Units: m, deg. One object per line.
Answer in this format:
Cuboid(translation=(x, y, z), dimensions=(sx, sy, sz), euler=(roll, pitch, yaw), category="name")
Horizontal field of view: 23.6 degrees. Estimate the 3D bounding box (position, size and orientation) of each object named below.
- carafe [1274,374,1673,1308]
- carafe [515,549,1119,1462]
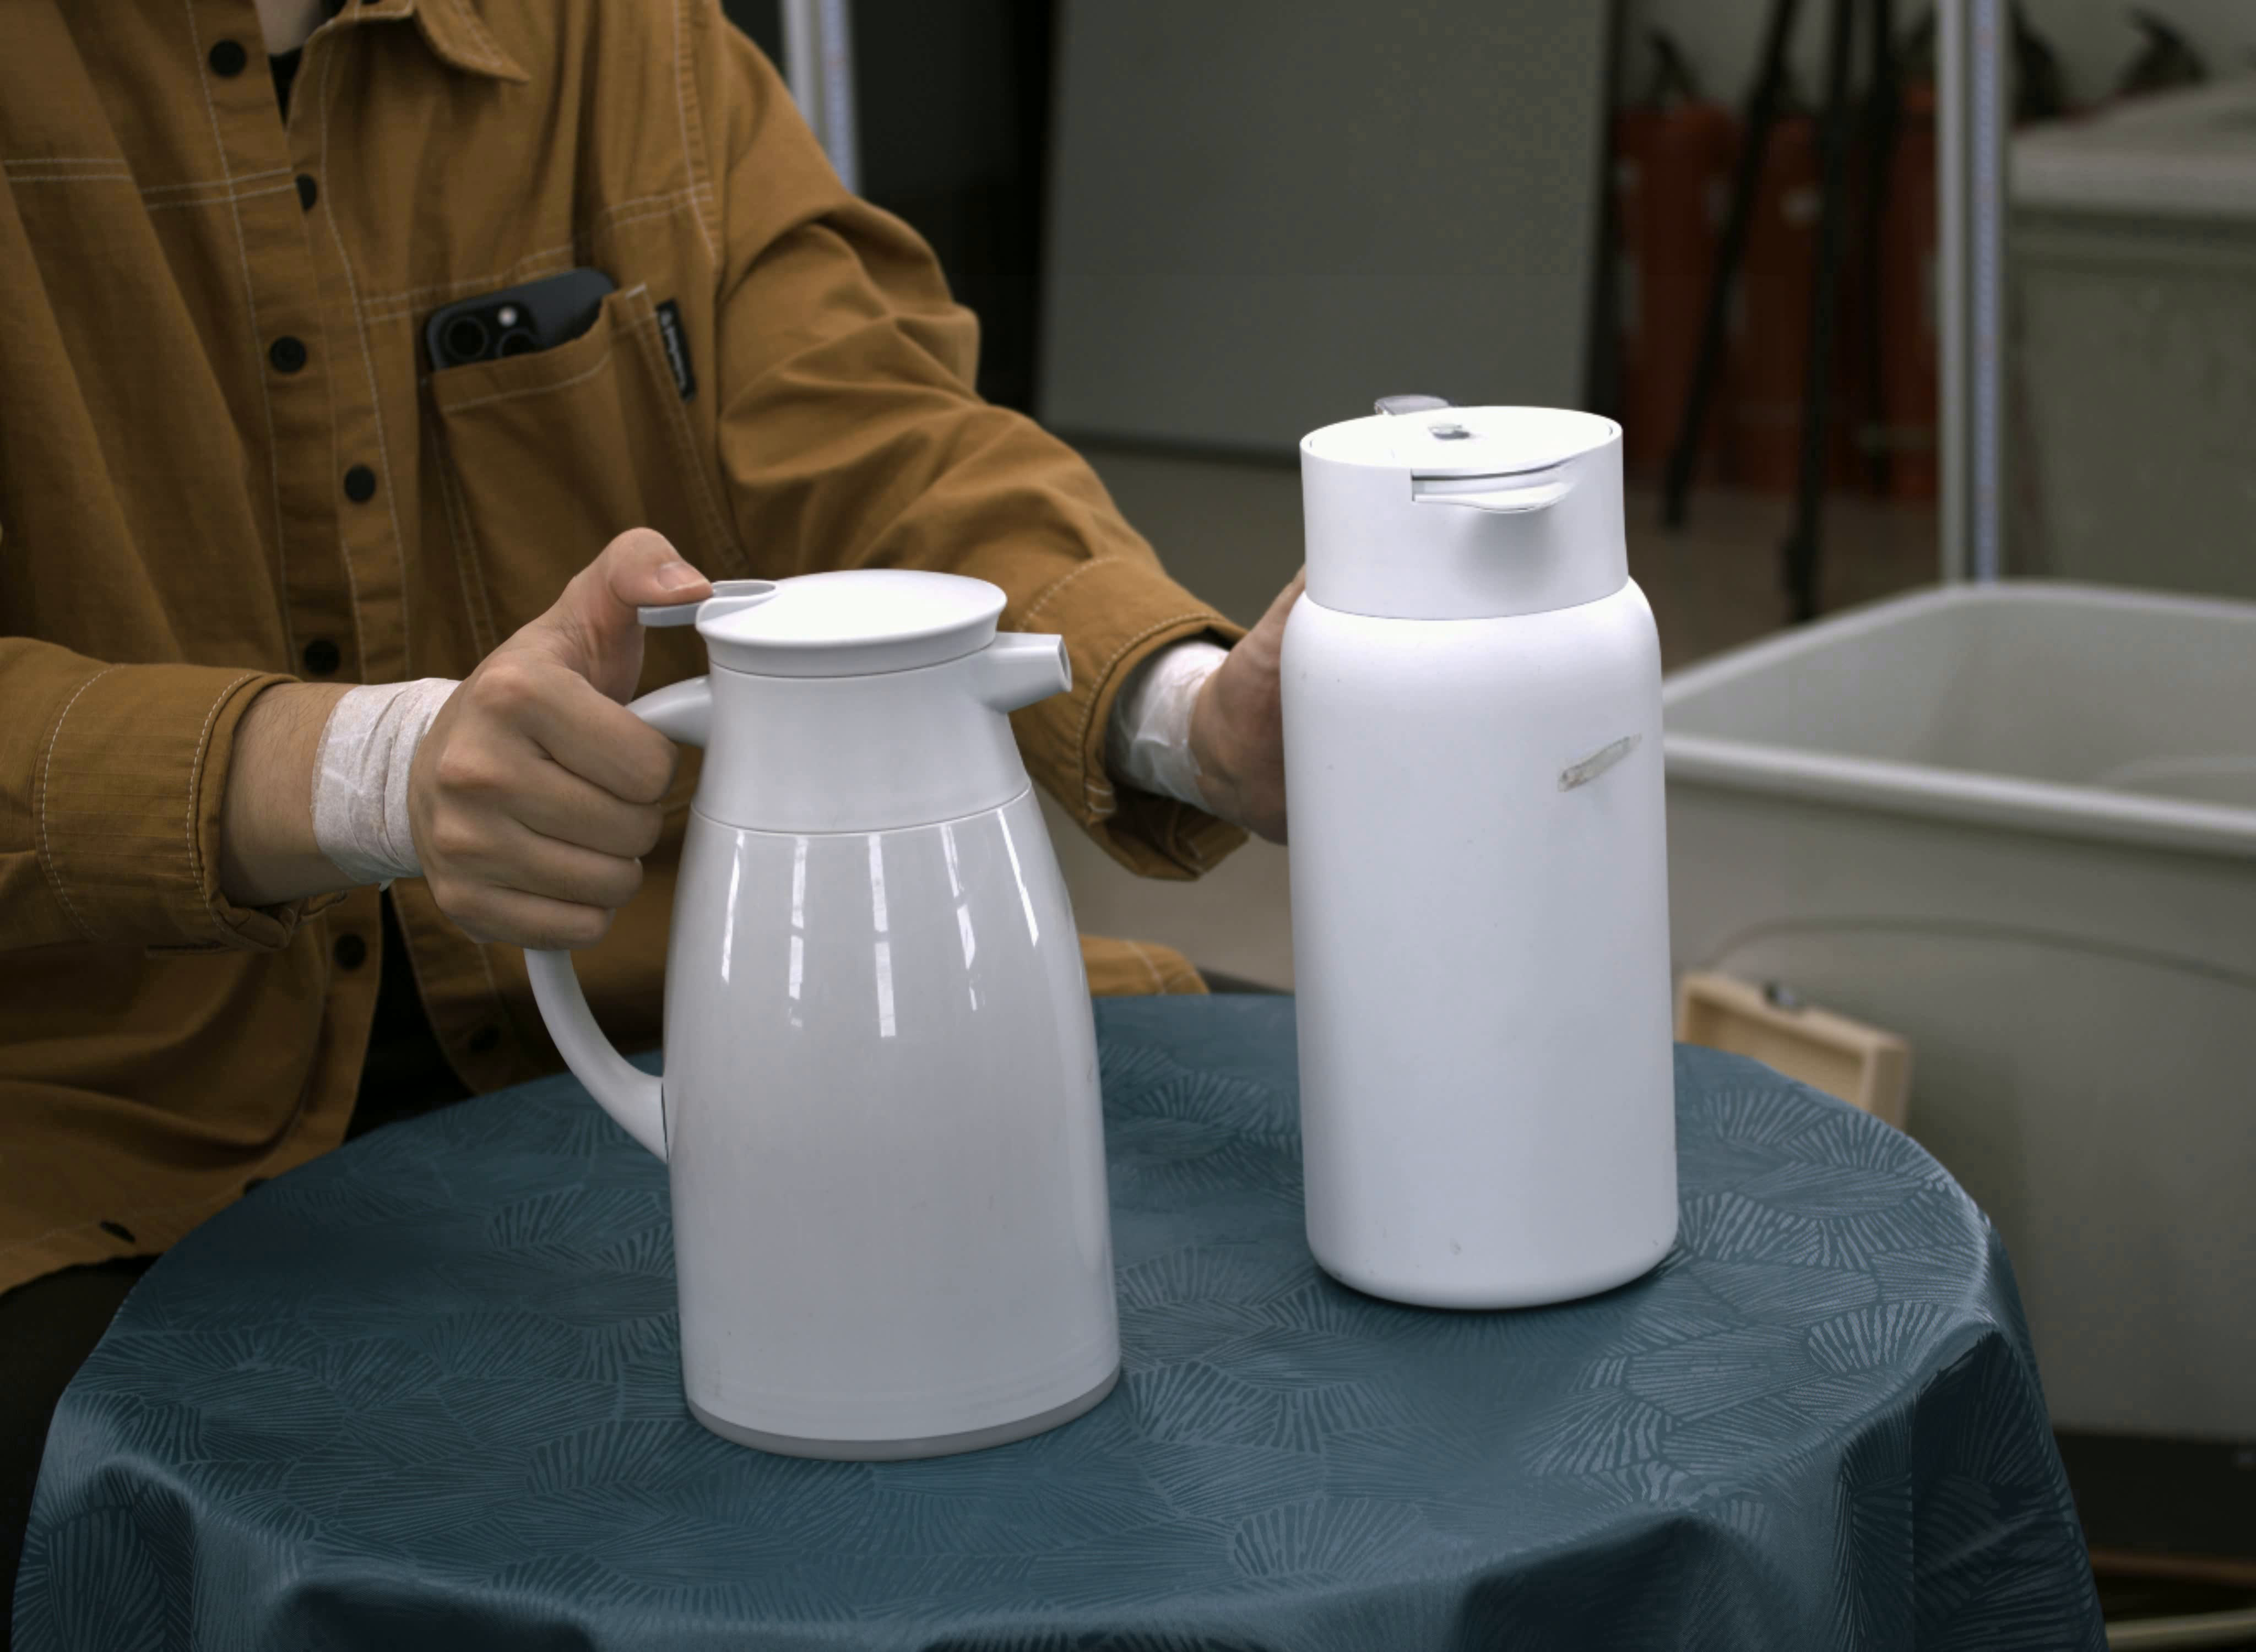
Cuboid(translation=(0.100, 0.001, 1.668), dimensions=(0.121, 0.272, 0.174), euler=(-8, 14, -10), category="carafe")
Cuboid(translation=(-0.094, 0.047, 1.581), dimensions=(0.166, 0.251, 0.132), euler=(-4, 13, 6), category="carafe")
